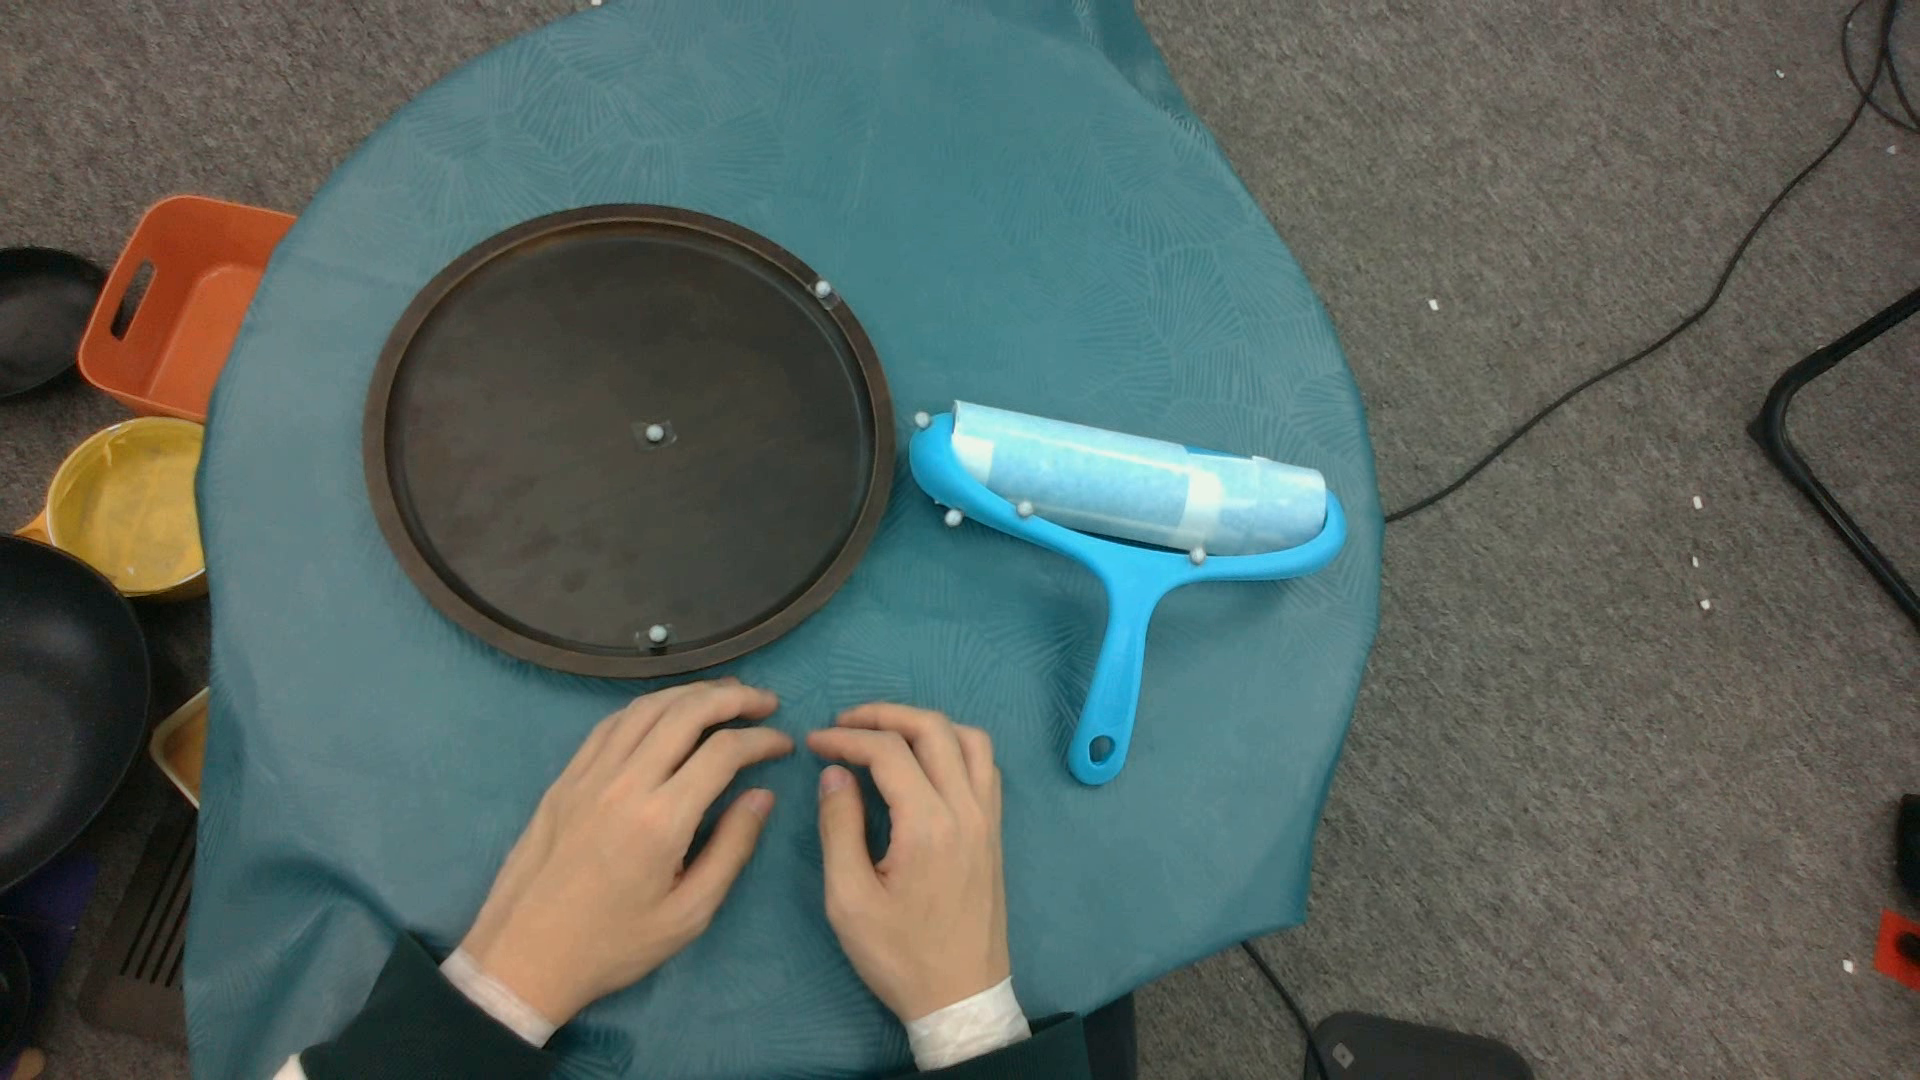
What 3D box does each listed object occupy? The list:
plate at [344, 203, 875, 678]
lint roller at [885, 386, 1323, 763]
[{"bbox_3d":[-0.168,-0.053,0.682,0.255,0.029,0.255,4,68,-10],"label":"plate"},{"bbox_3d":[0.073,0.016,0.684,0.229,0.067,0.181,6,68,-10],"label":"lint roller"}]
